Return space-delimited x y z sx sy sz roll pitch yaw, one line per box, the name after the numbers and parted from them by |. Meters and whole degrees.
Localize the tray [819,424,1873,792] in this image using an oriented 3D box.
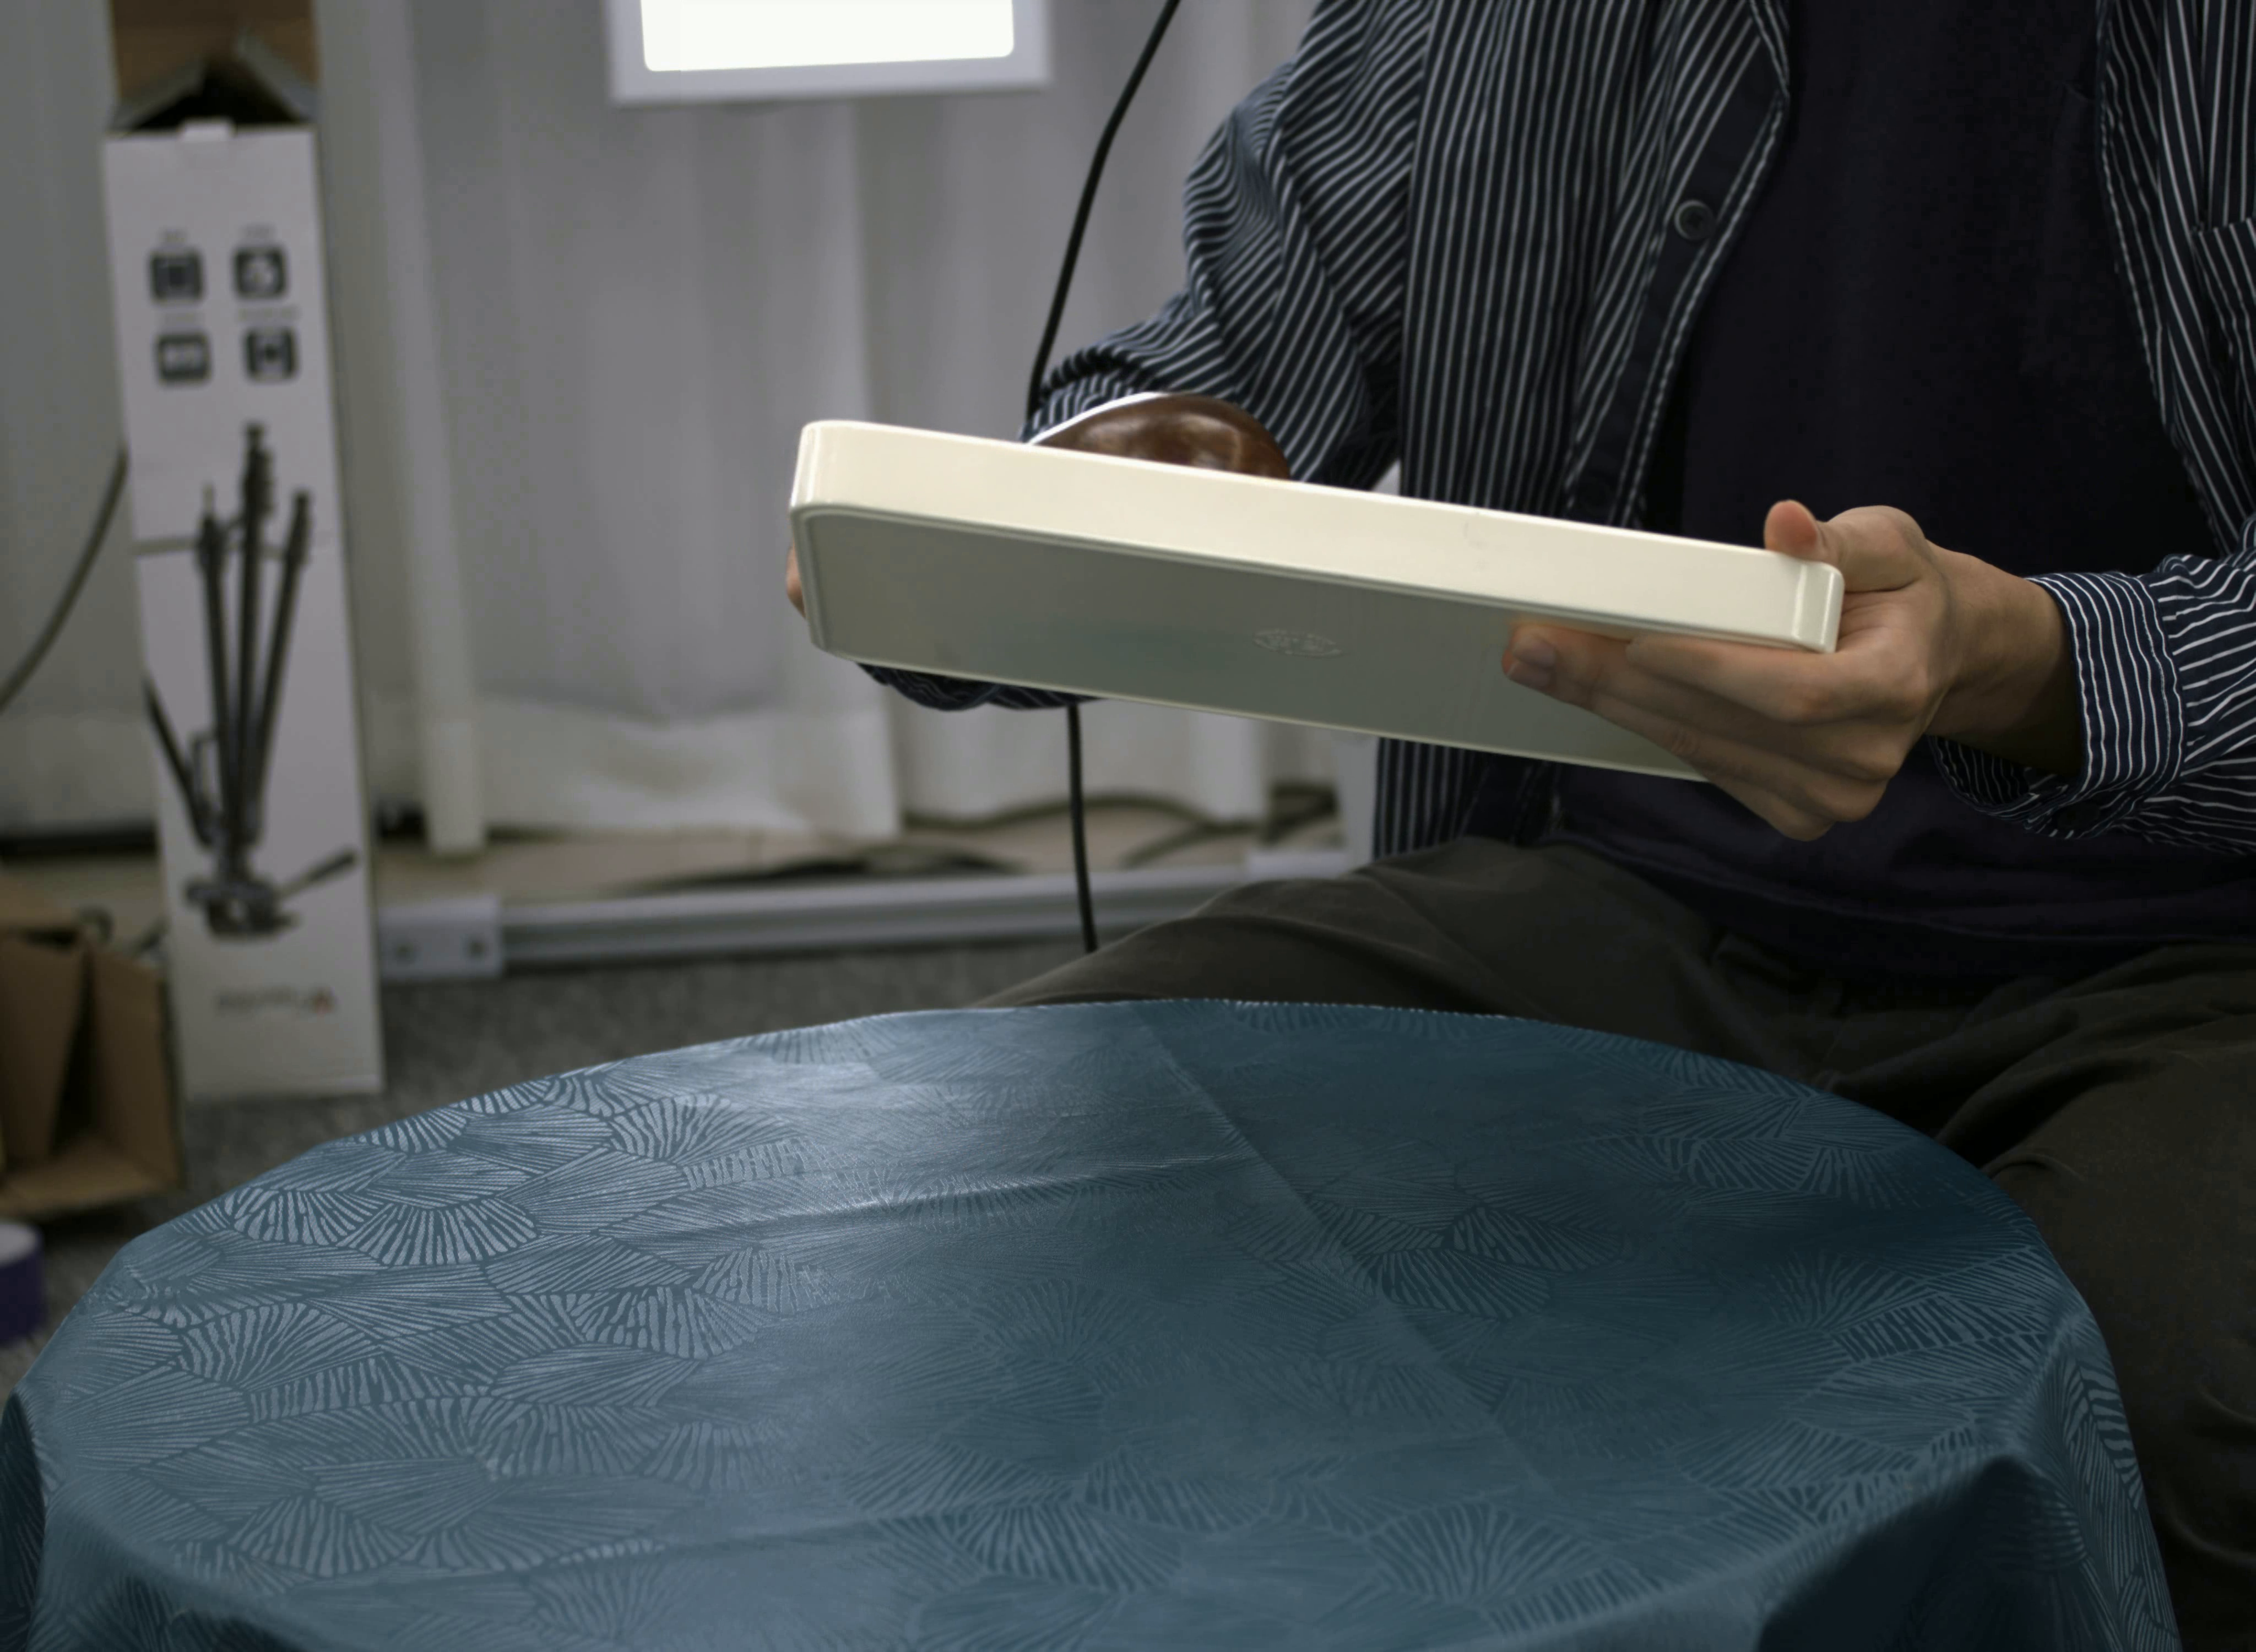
0.060 -0.061 1.622 0.299 0.027 0.190 8 -13 2 | tray

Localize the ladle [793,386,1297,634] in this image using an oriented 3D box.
-0.029 -0.081 1.753 0.082 0.076 0.273 -50 10 -23 | ladle
